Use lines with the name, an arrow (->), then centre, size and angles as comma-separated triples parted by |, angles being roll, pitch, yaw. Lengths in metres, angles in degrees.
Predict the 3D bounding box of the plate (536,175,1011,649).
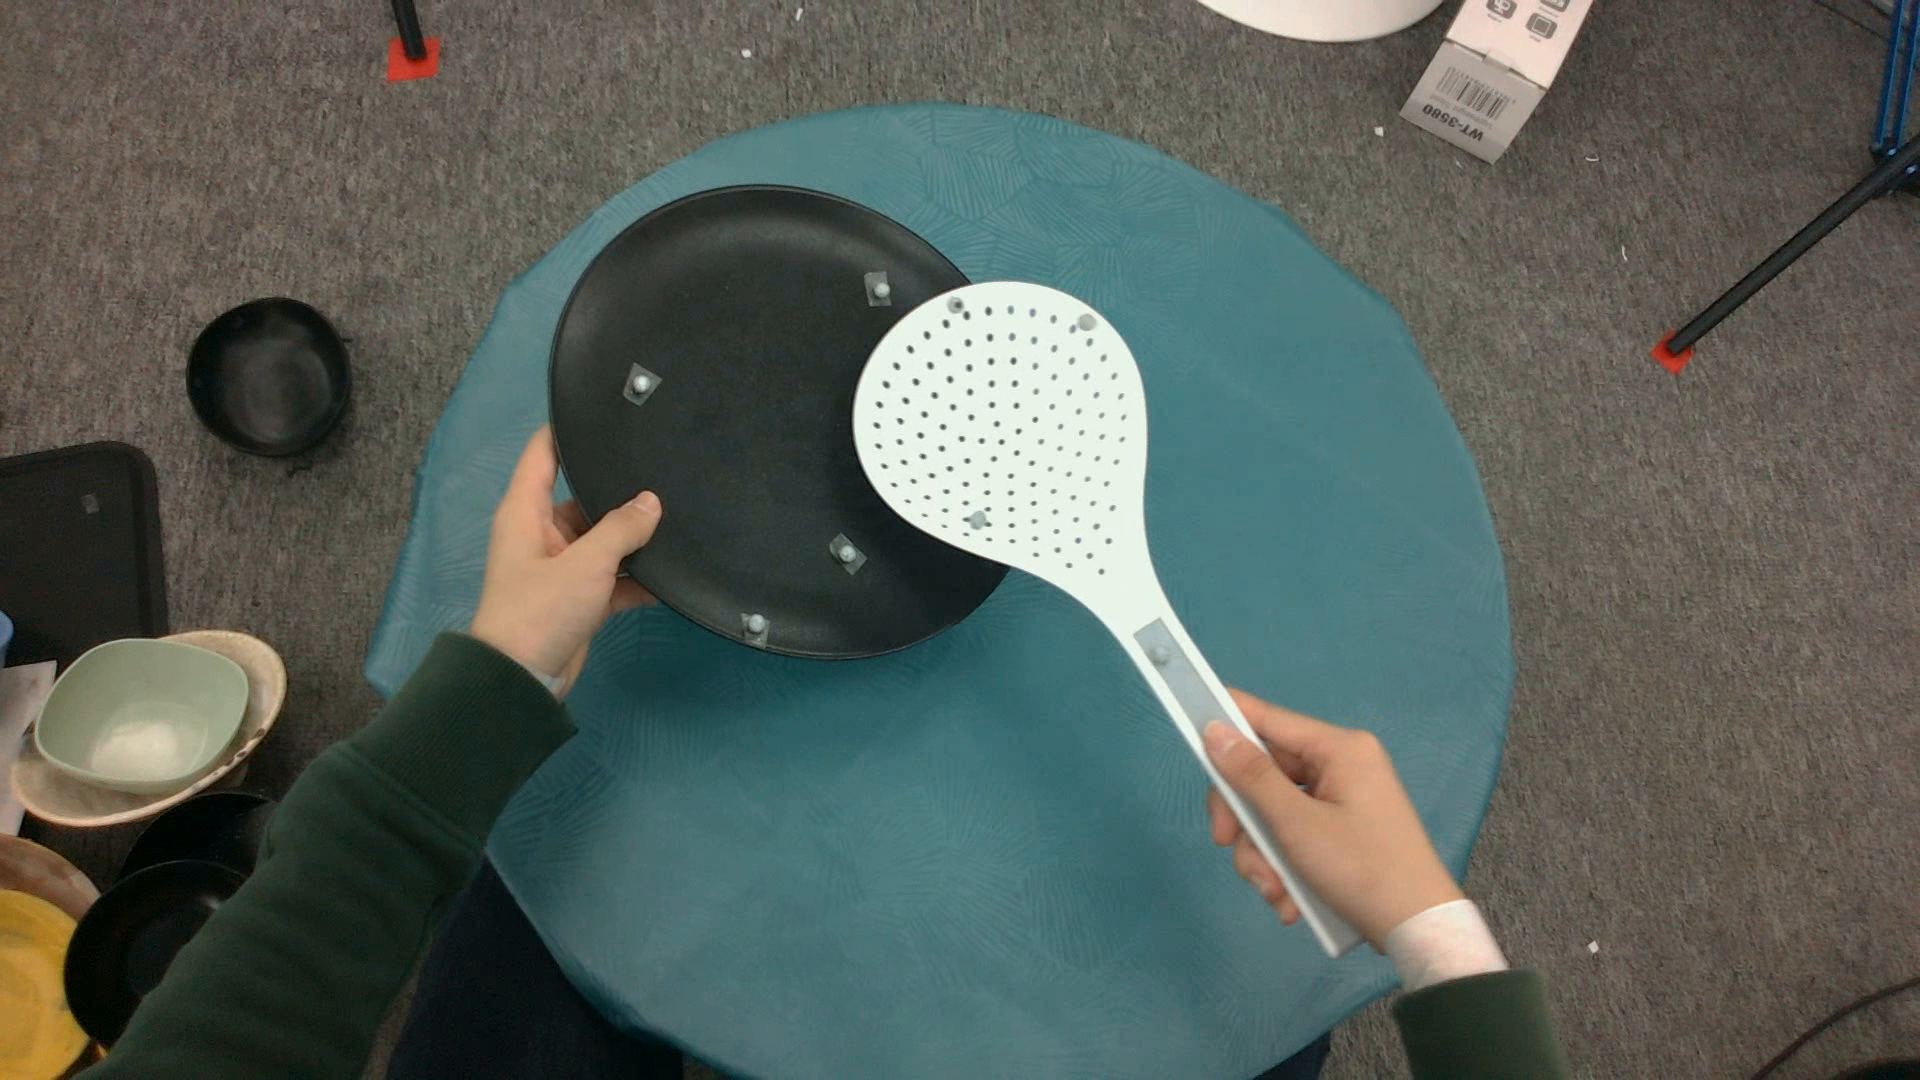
plate -> -0.079, -0.064, 0.663 | 0.245, 0.023, 0.245 | 9, 68, -22

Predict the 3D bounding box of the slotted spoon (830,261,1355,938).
slotted spoon -> 0.064, 0.018, 0.619 | 0.136, 0.045, 0.350 | -30, 69, -11
